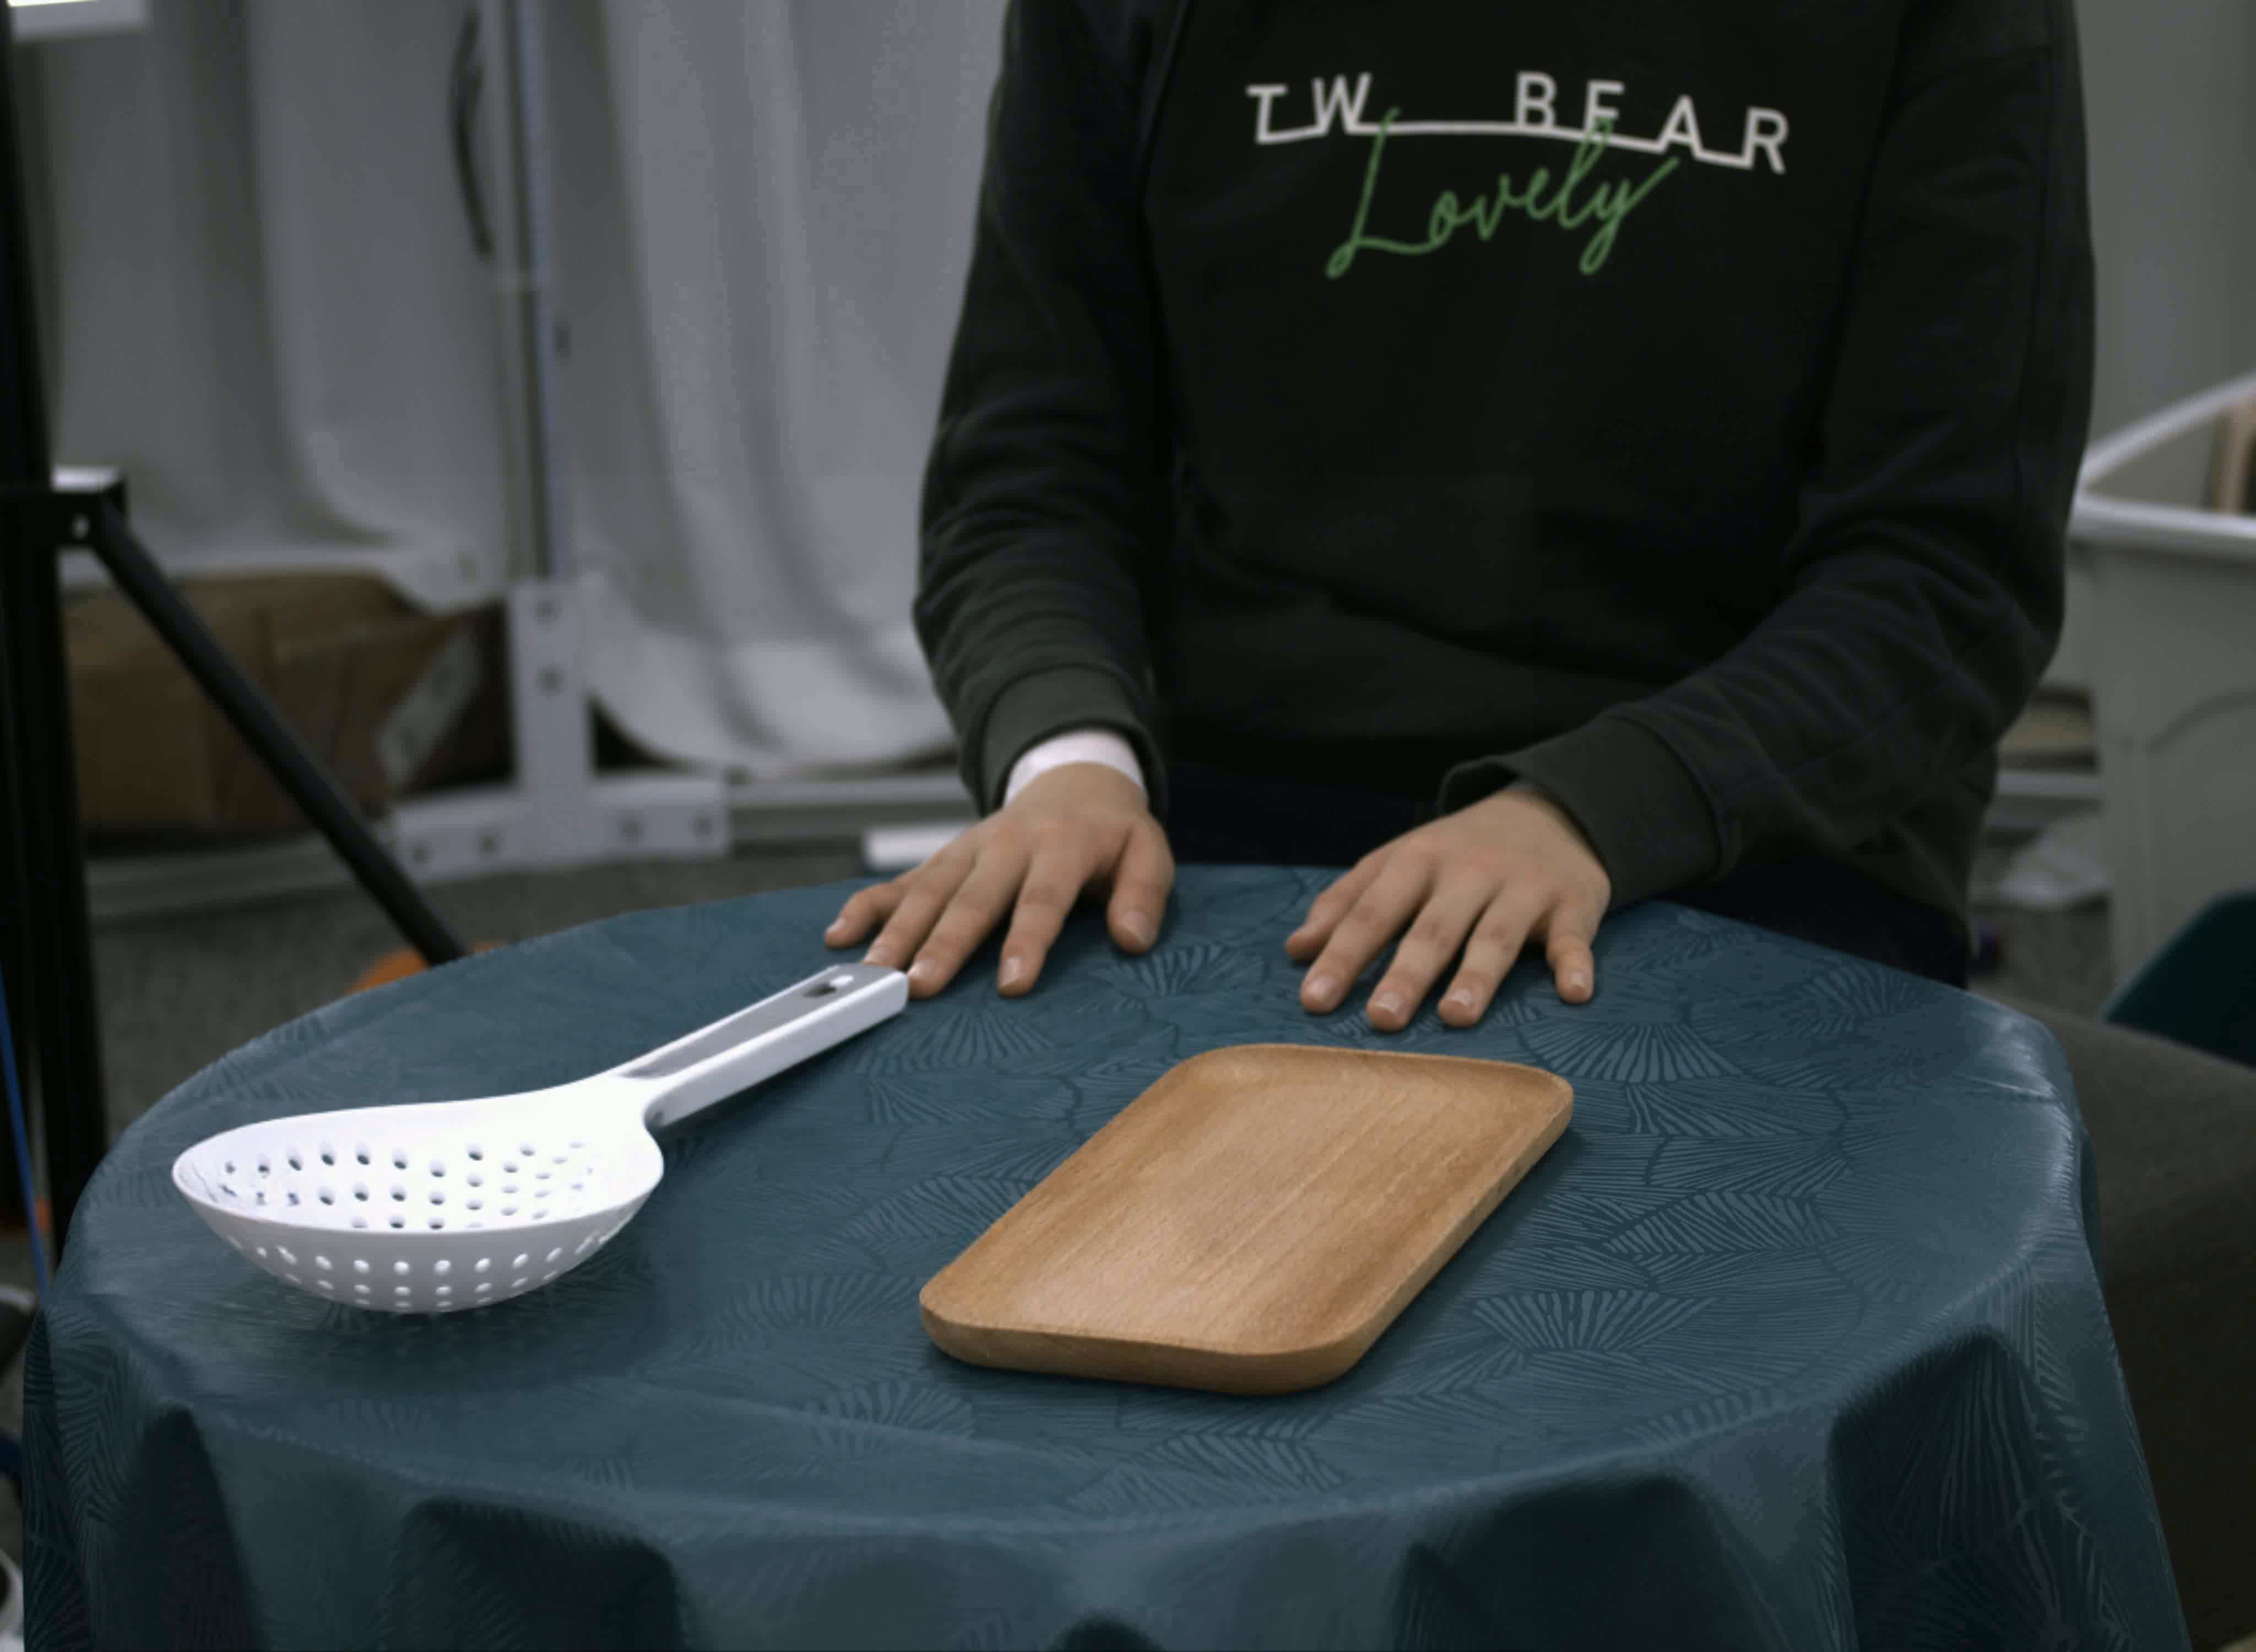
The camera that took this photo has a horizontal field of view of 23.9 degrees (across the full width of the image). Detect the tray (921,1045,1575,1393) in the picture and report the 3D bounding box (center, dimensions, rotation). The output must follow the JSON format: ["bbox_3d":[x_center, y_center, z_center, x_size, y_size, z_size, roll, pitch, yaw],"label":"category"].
[{"bbox_3d":[0.039,0.109,1.516,0.132,0.023,0.247,6,17,21],"label":"tray"}]

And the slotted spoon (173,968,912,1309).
[{"bbox_3d":[-0.154,0.083,1.587,0.138,0.046,0.344,7,18,24],"label":"slotted spoon"}]
